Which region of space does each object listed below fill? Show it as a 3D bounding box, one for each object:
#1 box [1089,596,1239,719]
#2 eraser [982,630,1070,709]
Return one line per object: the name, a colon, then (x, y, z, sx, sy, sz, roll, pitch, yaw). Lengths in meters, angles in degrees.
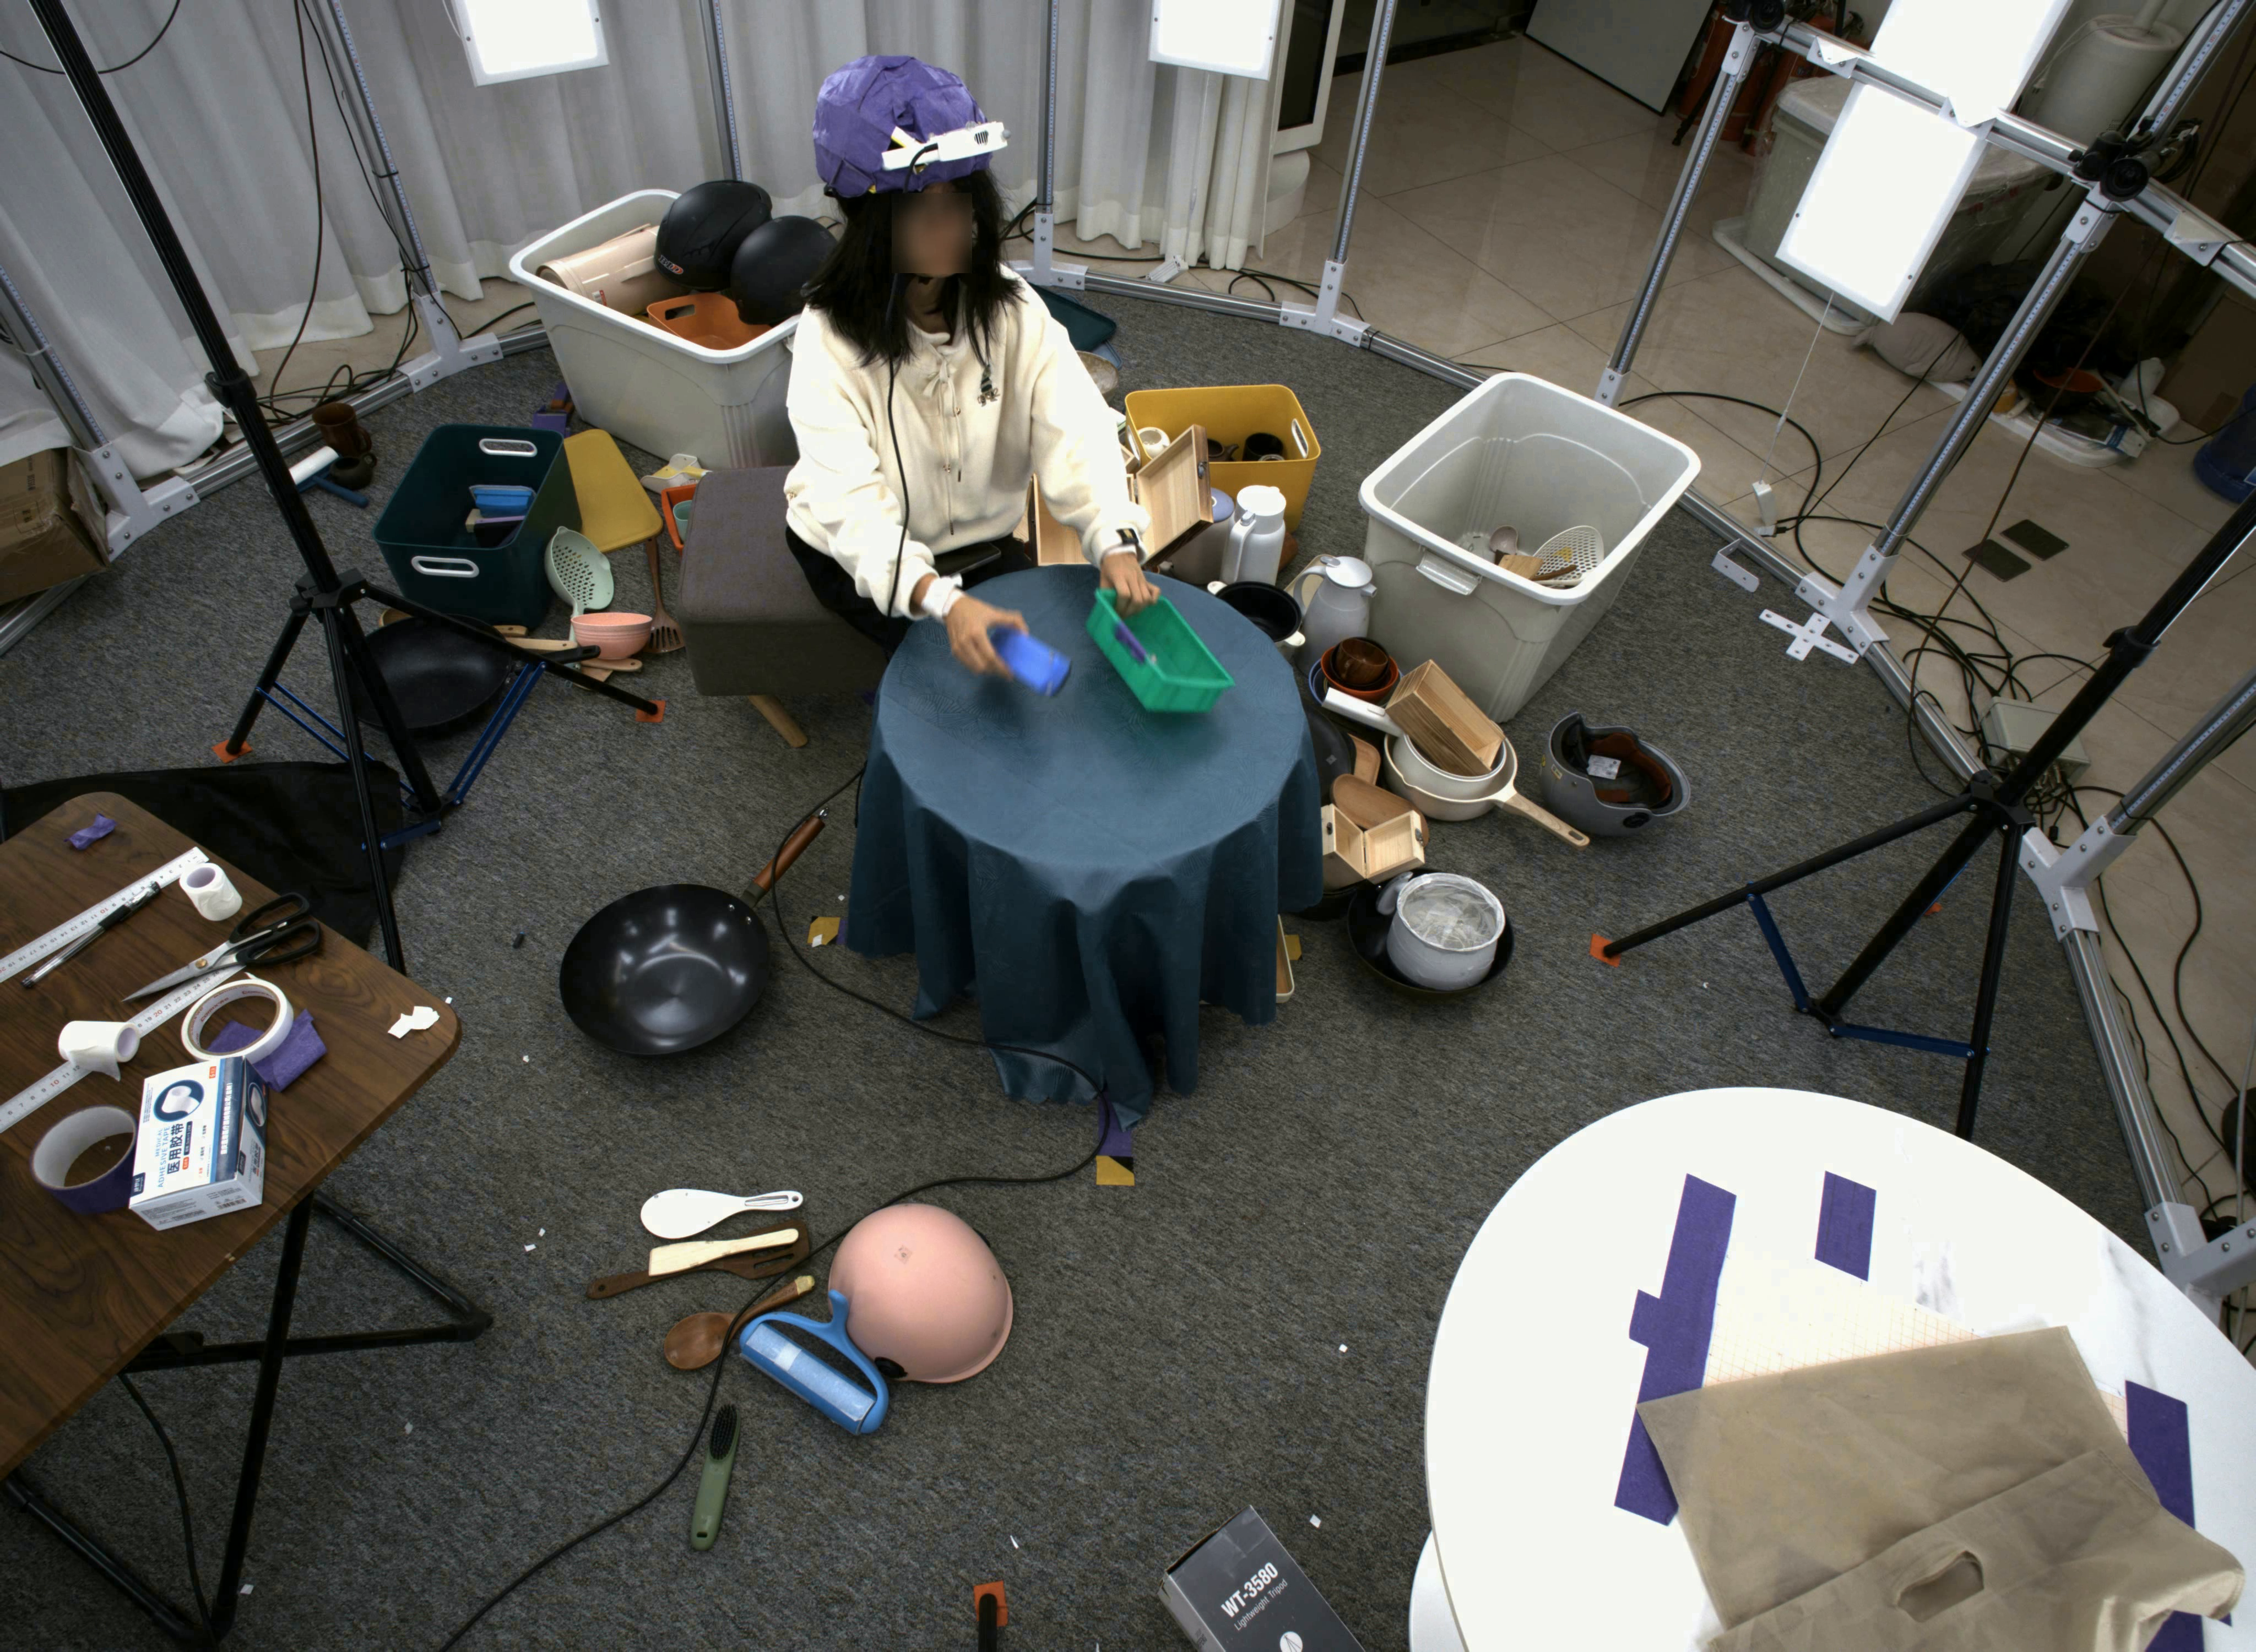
box: (0.045, -0.234, 1.797, 0.138, 0.064, 0.215, -7, 49, -39)
eraser: (-0.145, -0.218, 1.755, 0.054, 0.046, 0.165, -52, 45, 2)
